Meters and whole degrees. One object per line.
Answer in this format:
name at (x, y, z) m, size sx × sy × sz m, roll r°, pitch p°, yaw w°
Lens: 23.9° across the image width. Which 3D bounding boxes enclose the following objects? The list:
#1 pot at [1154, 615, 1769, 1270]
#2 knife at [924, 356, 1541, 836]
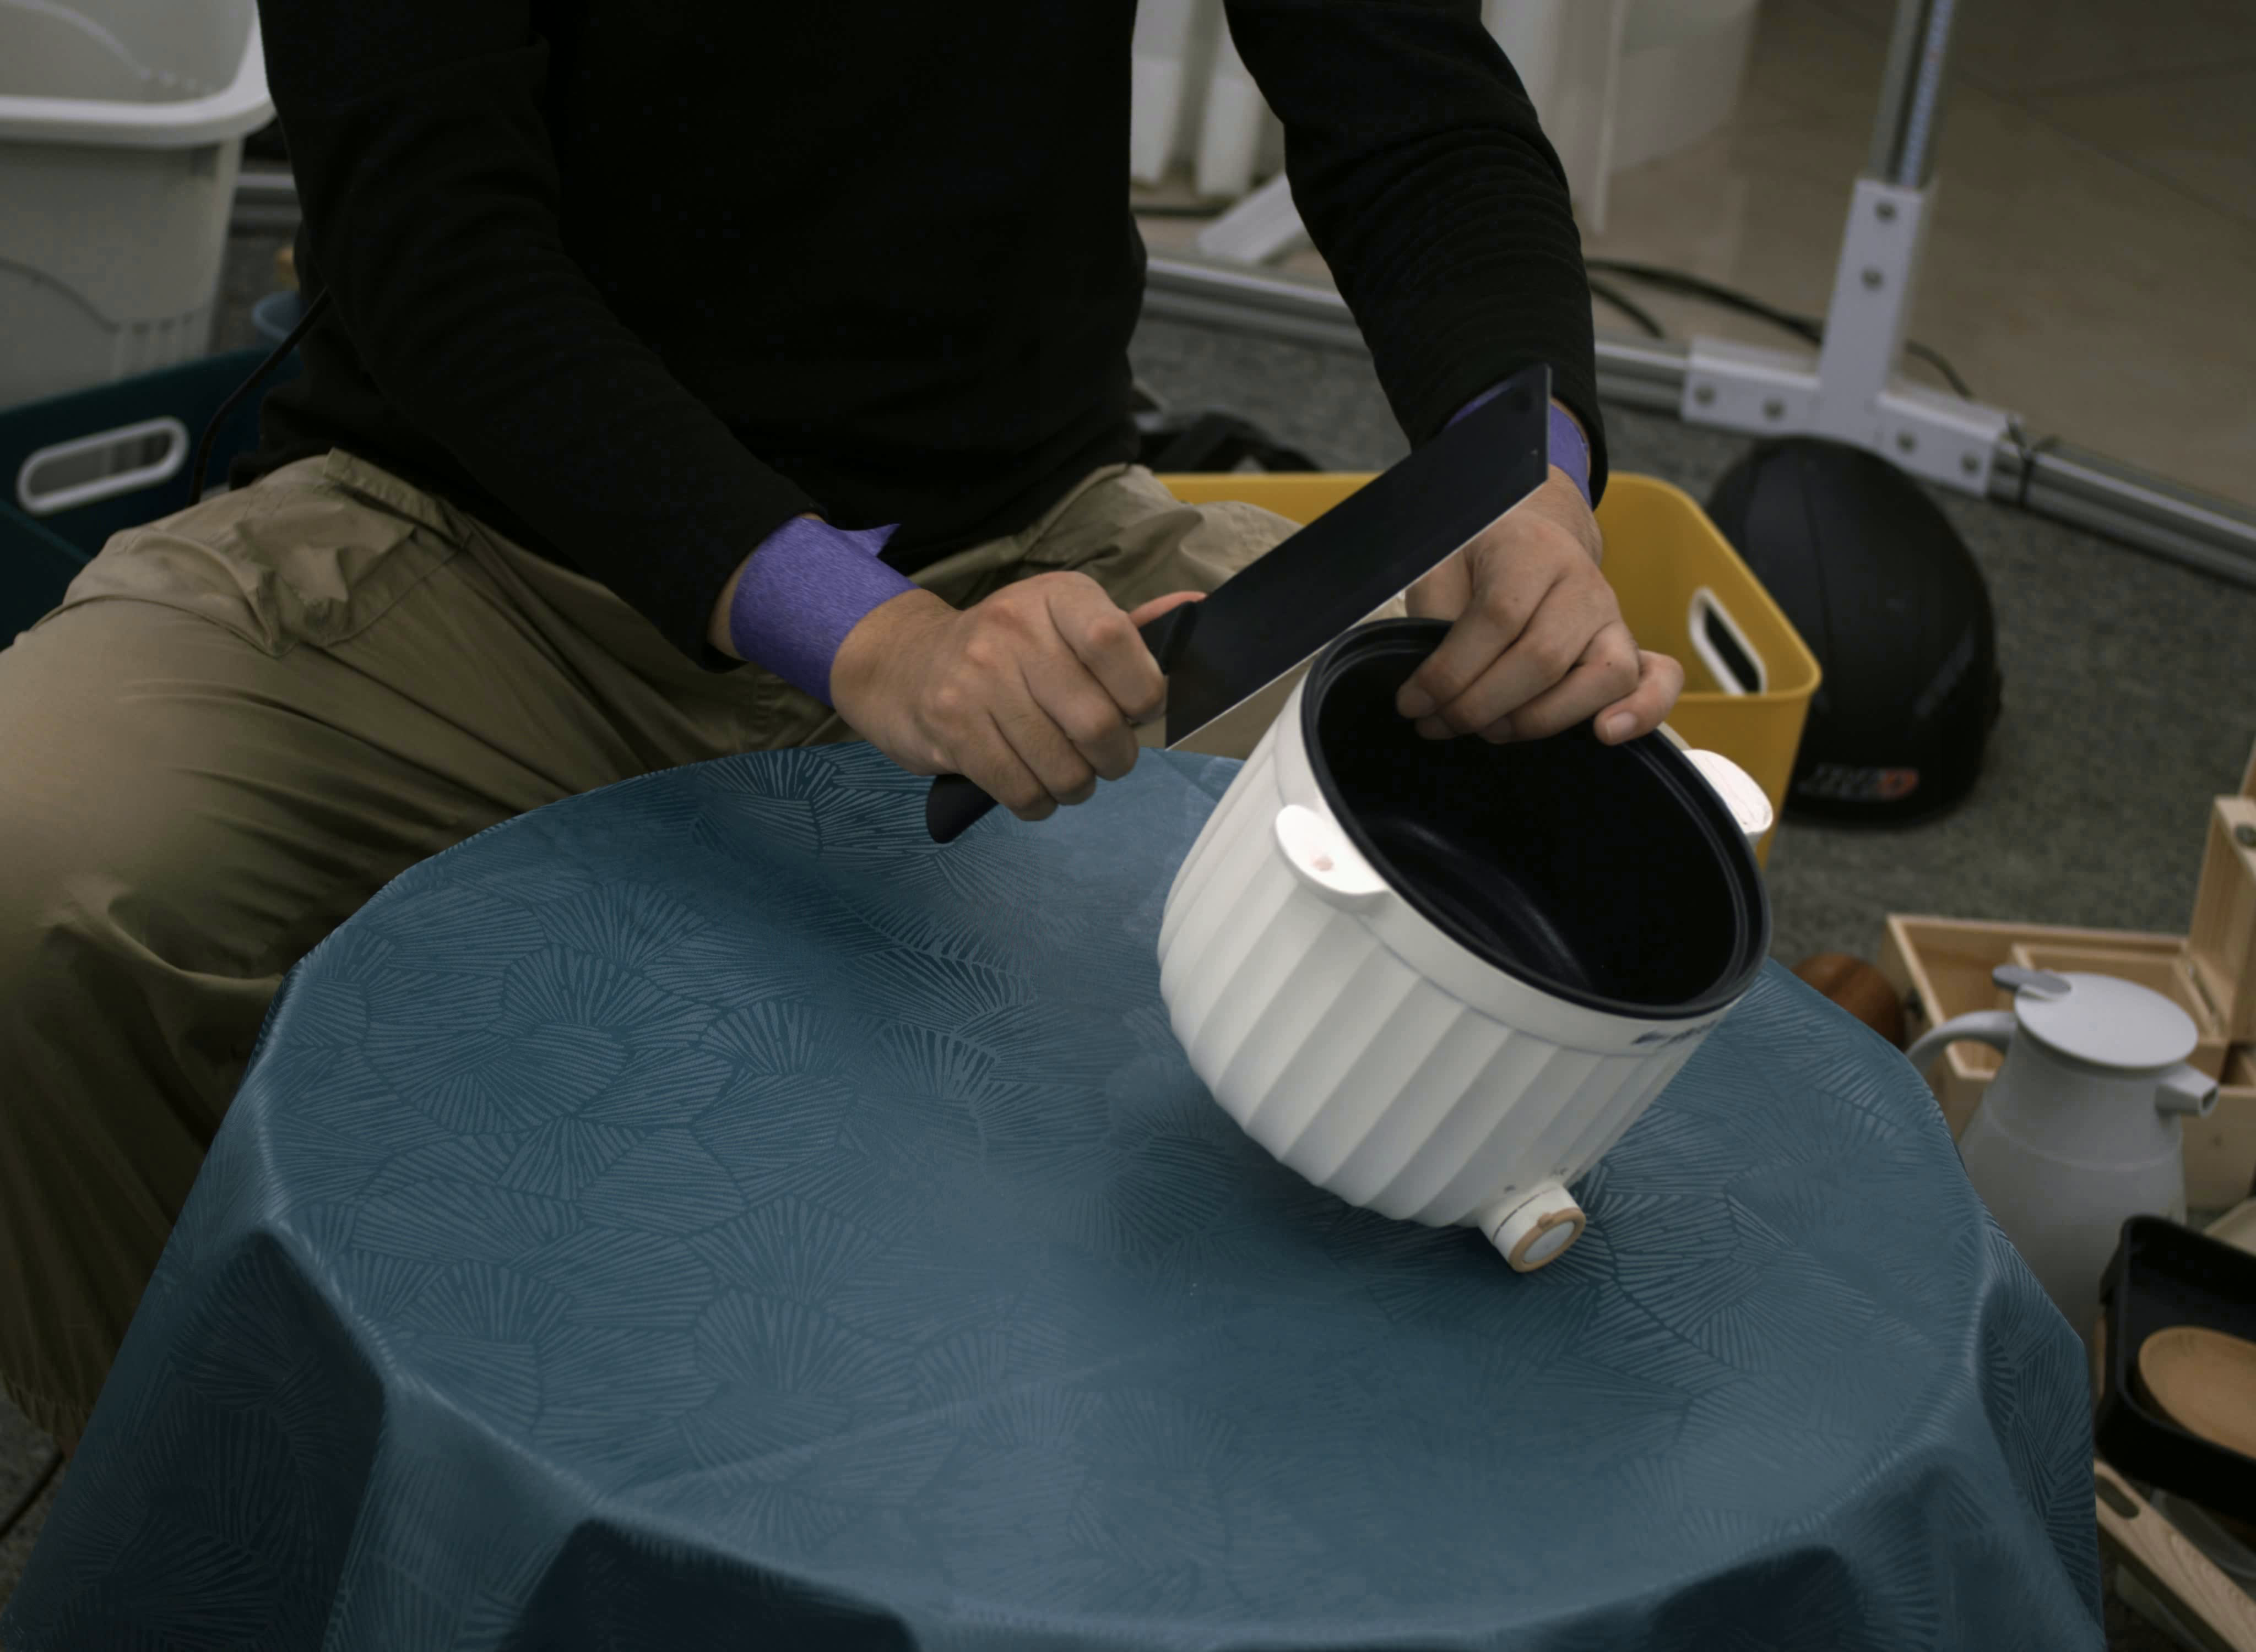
pot at (0.108, 0.043, 1.799) m, size 0.239 × 0.142 × 0.192 m, roll -9°, pitch 49°, yaw -44°
knife at (0.034, -0.069, 1.850) m, size 0.020 × 0.302 × 0.081 m, roll 35°, pitch 43°, yaw -28°
